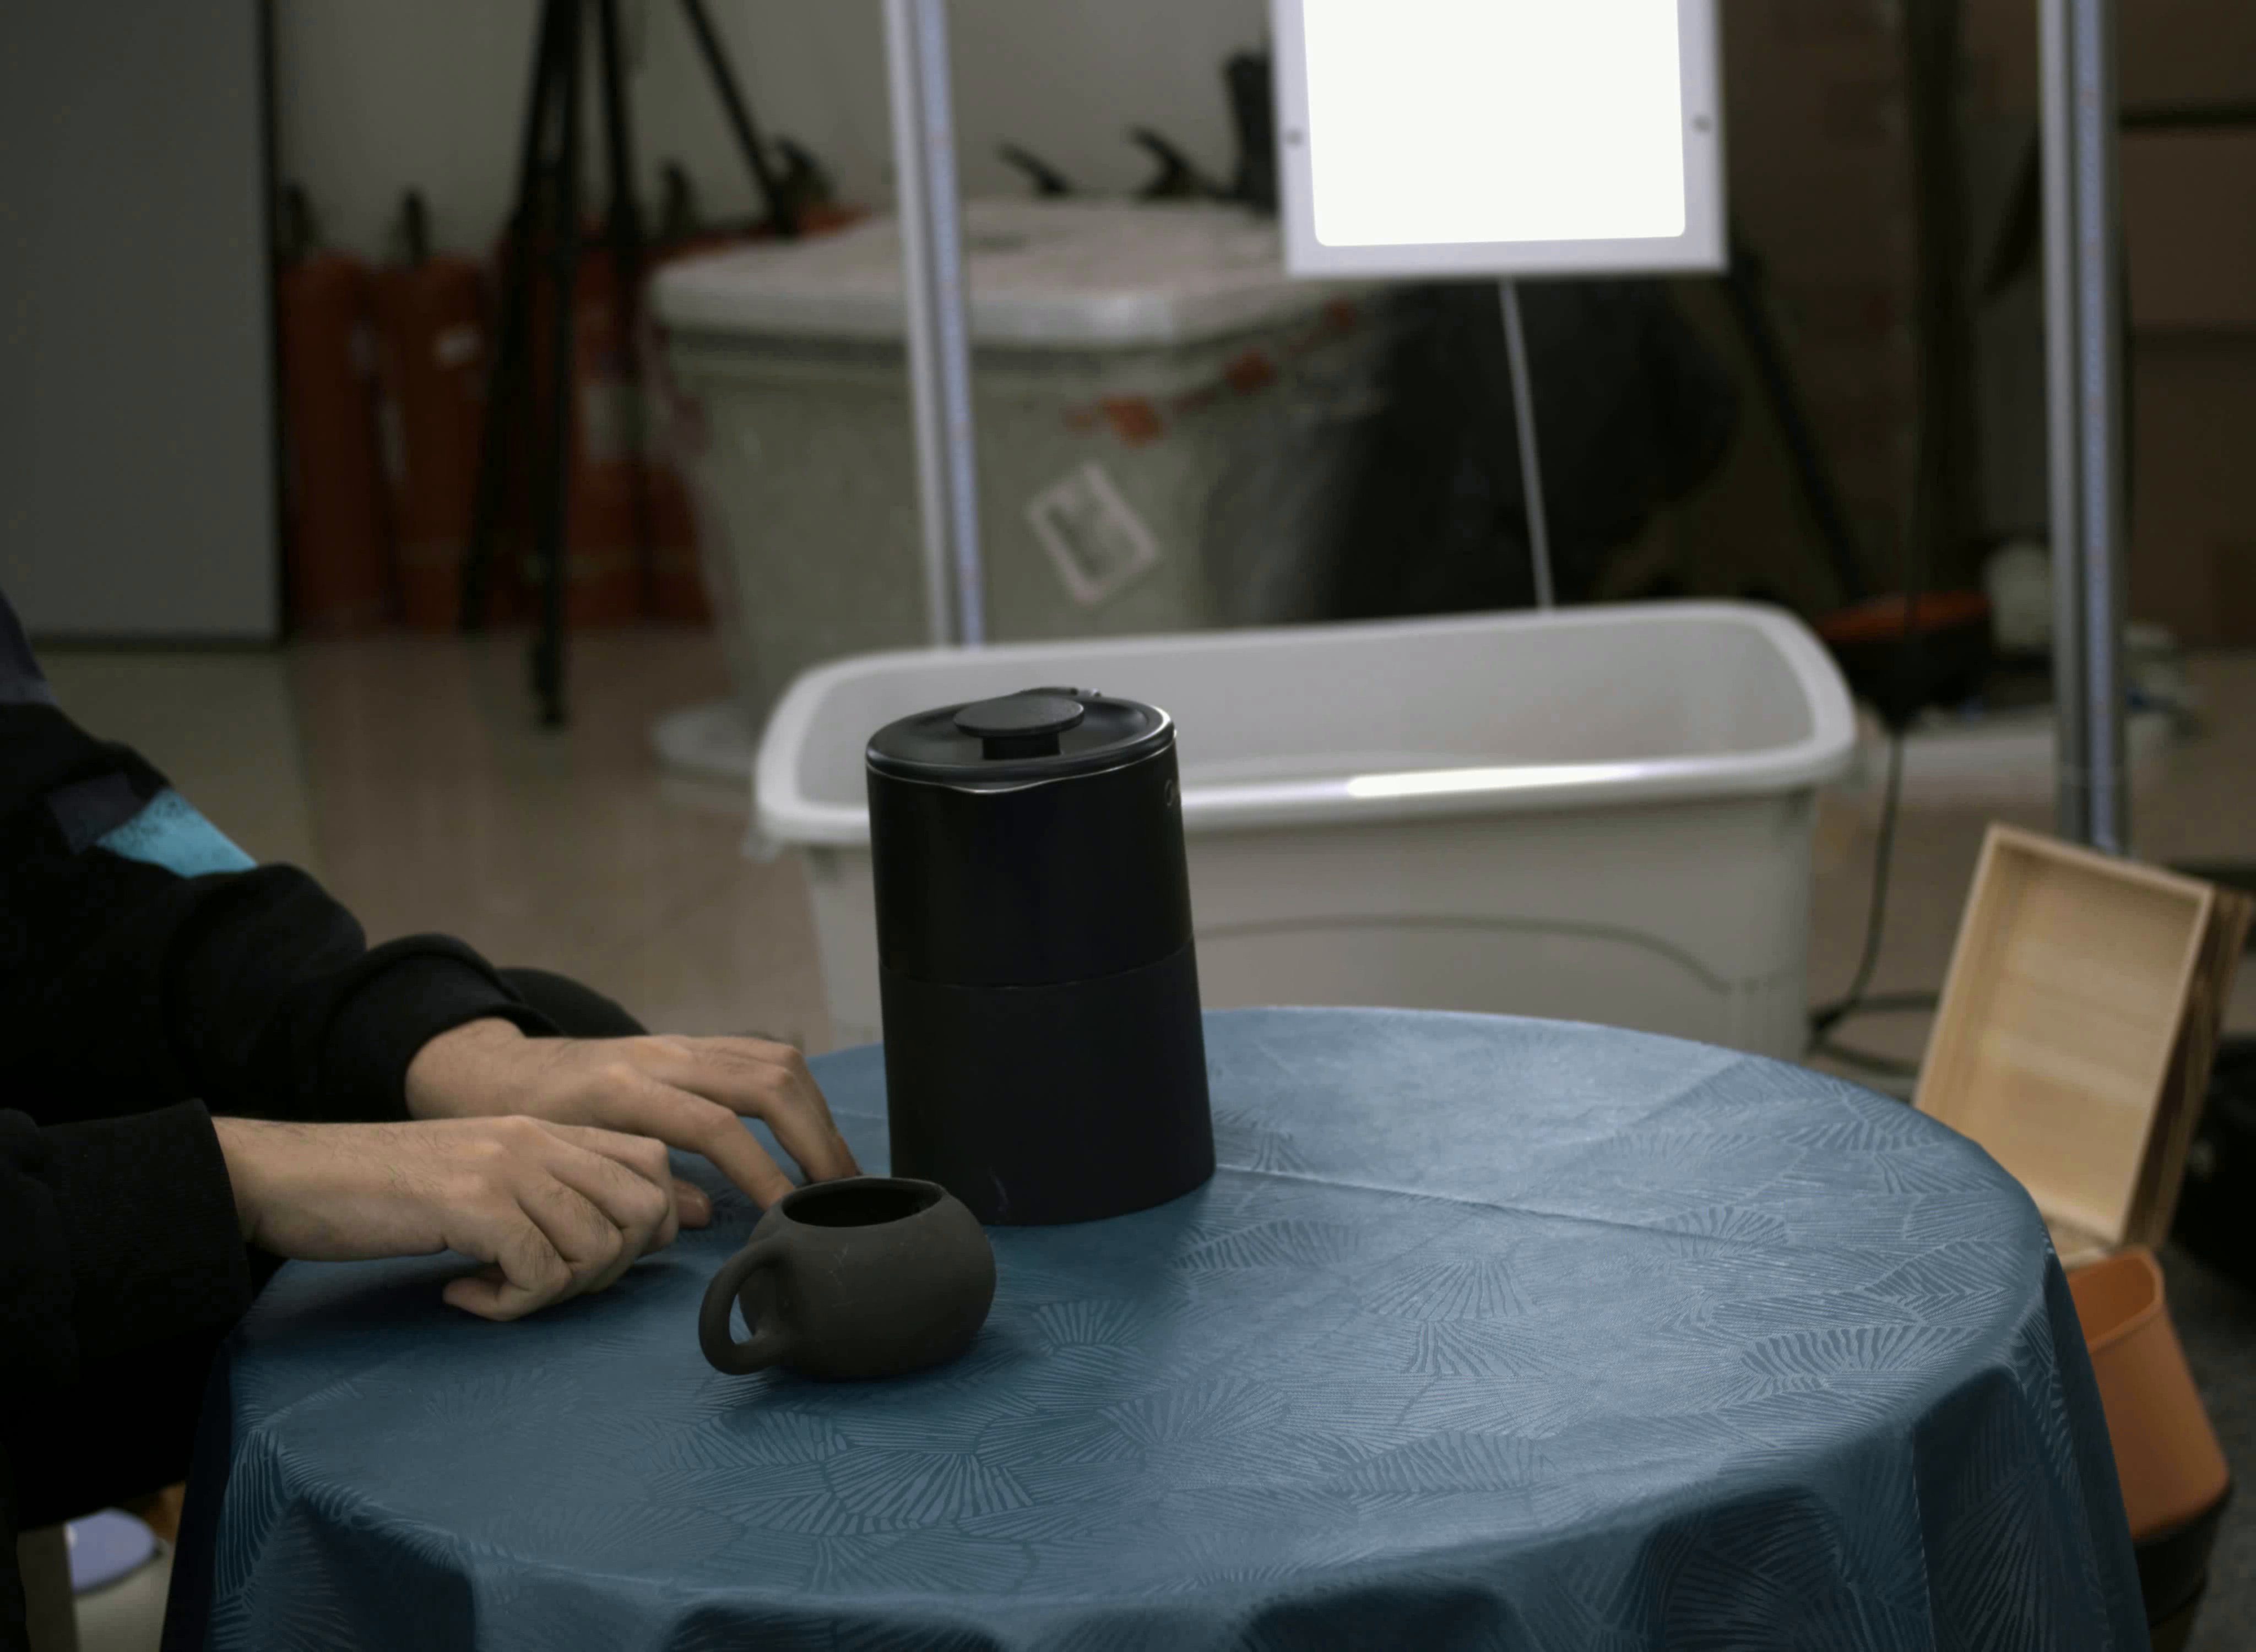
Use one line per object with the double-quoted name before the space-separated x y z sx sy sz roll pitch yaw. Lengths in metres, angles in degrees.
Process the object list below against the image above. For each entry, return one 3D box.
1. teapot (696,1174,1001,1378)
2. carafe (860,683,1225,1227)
"teapot" -0.091 0.145 1.748 0.111 0.053 0.085 -12 14 -38
"carafe" -0.029 0.035 1.920 0.115 0.174 0.170 -4 16 9
